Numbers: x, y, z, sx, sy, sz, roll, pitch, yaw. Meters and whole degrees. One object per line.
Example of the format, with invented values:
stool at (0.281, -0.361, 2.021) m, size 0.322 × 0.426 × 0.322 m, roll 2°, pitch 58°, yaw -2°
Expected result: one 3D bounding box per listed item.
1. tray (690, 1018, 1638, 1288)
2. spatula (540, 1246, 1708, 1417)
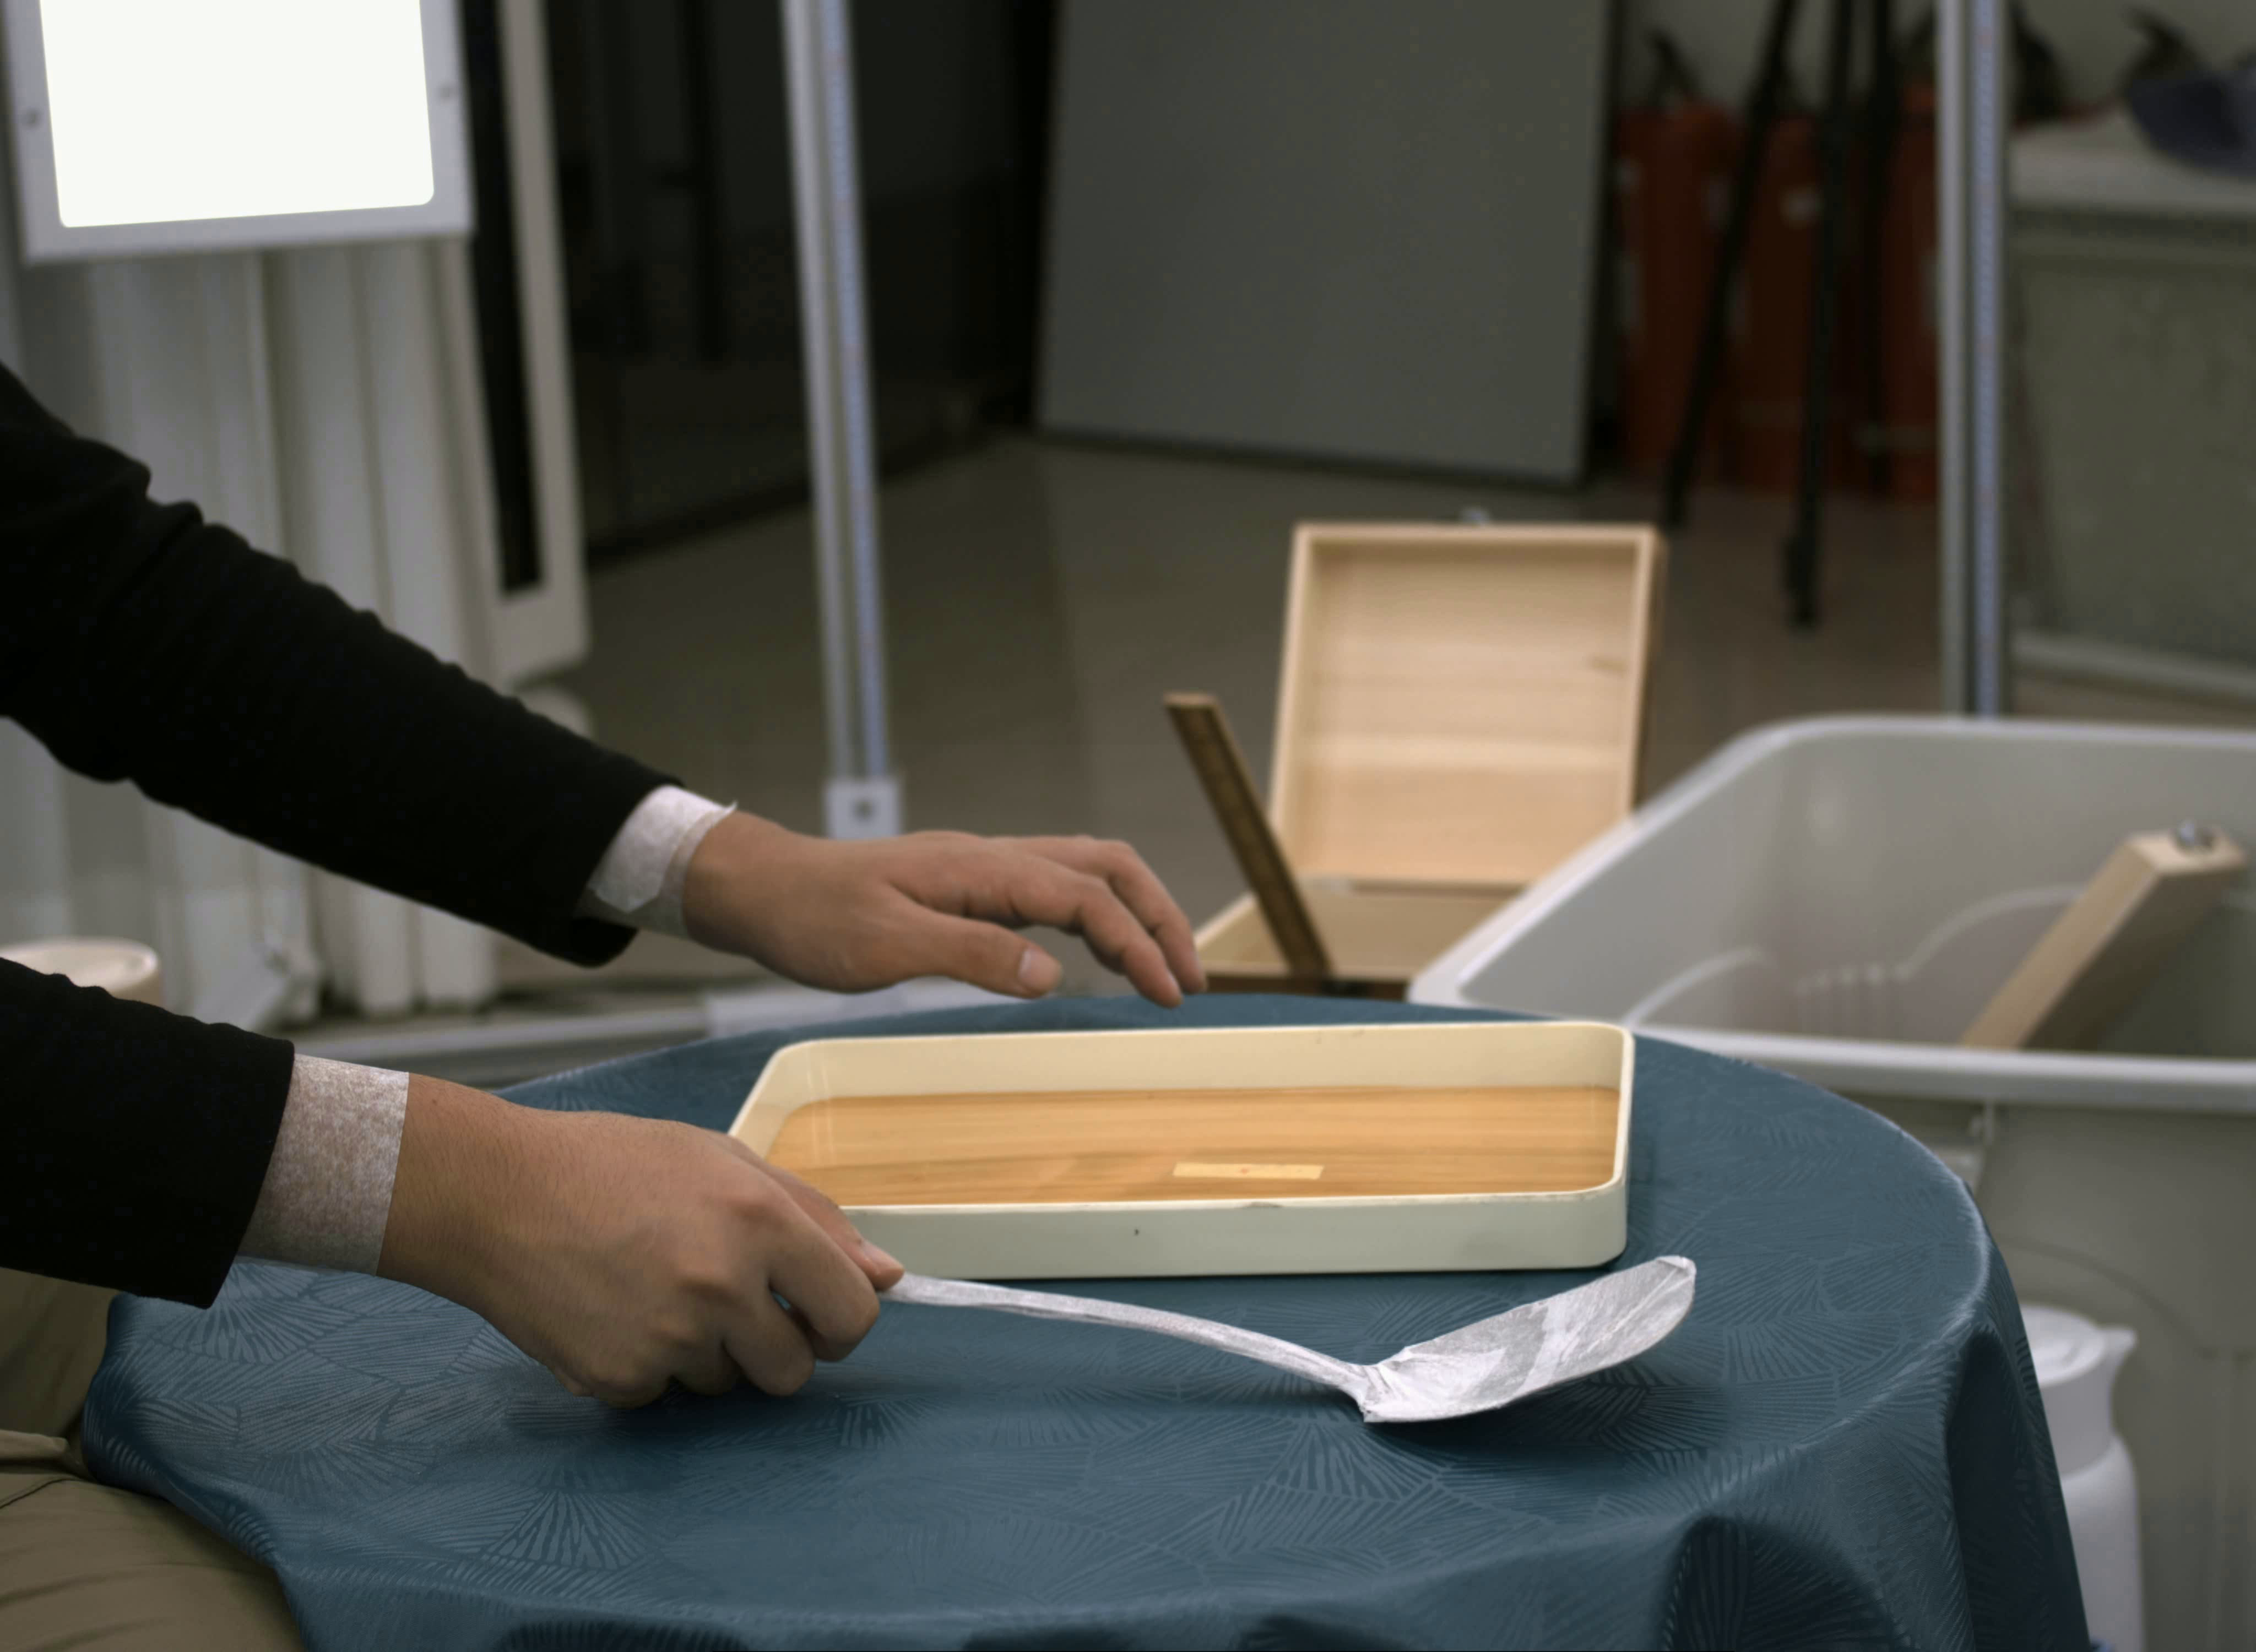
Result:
tray at (0.017, 0.106, 1.768) m, size 0.298 × 0.028 × 0.191 m, roll -2°, pitch 14°, yaw 9°
spatula at (-0.010, 0.138, 1.588) m, size 0.364 × 0.045 × 0.098 m, roll 5°, pitch 16°, yaw 17°
